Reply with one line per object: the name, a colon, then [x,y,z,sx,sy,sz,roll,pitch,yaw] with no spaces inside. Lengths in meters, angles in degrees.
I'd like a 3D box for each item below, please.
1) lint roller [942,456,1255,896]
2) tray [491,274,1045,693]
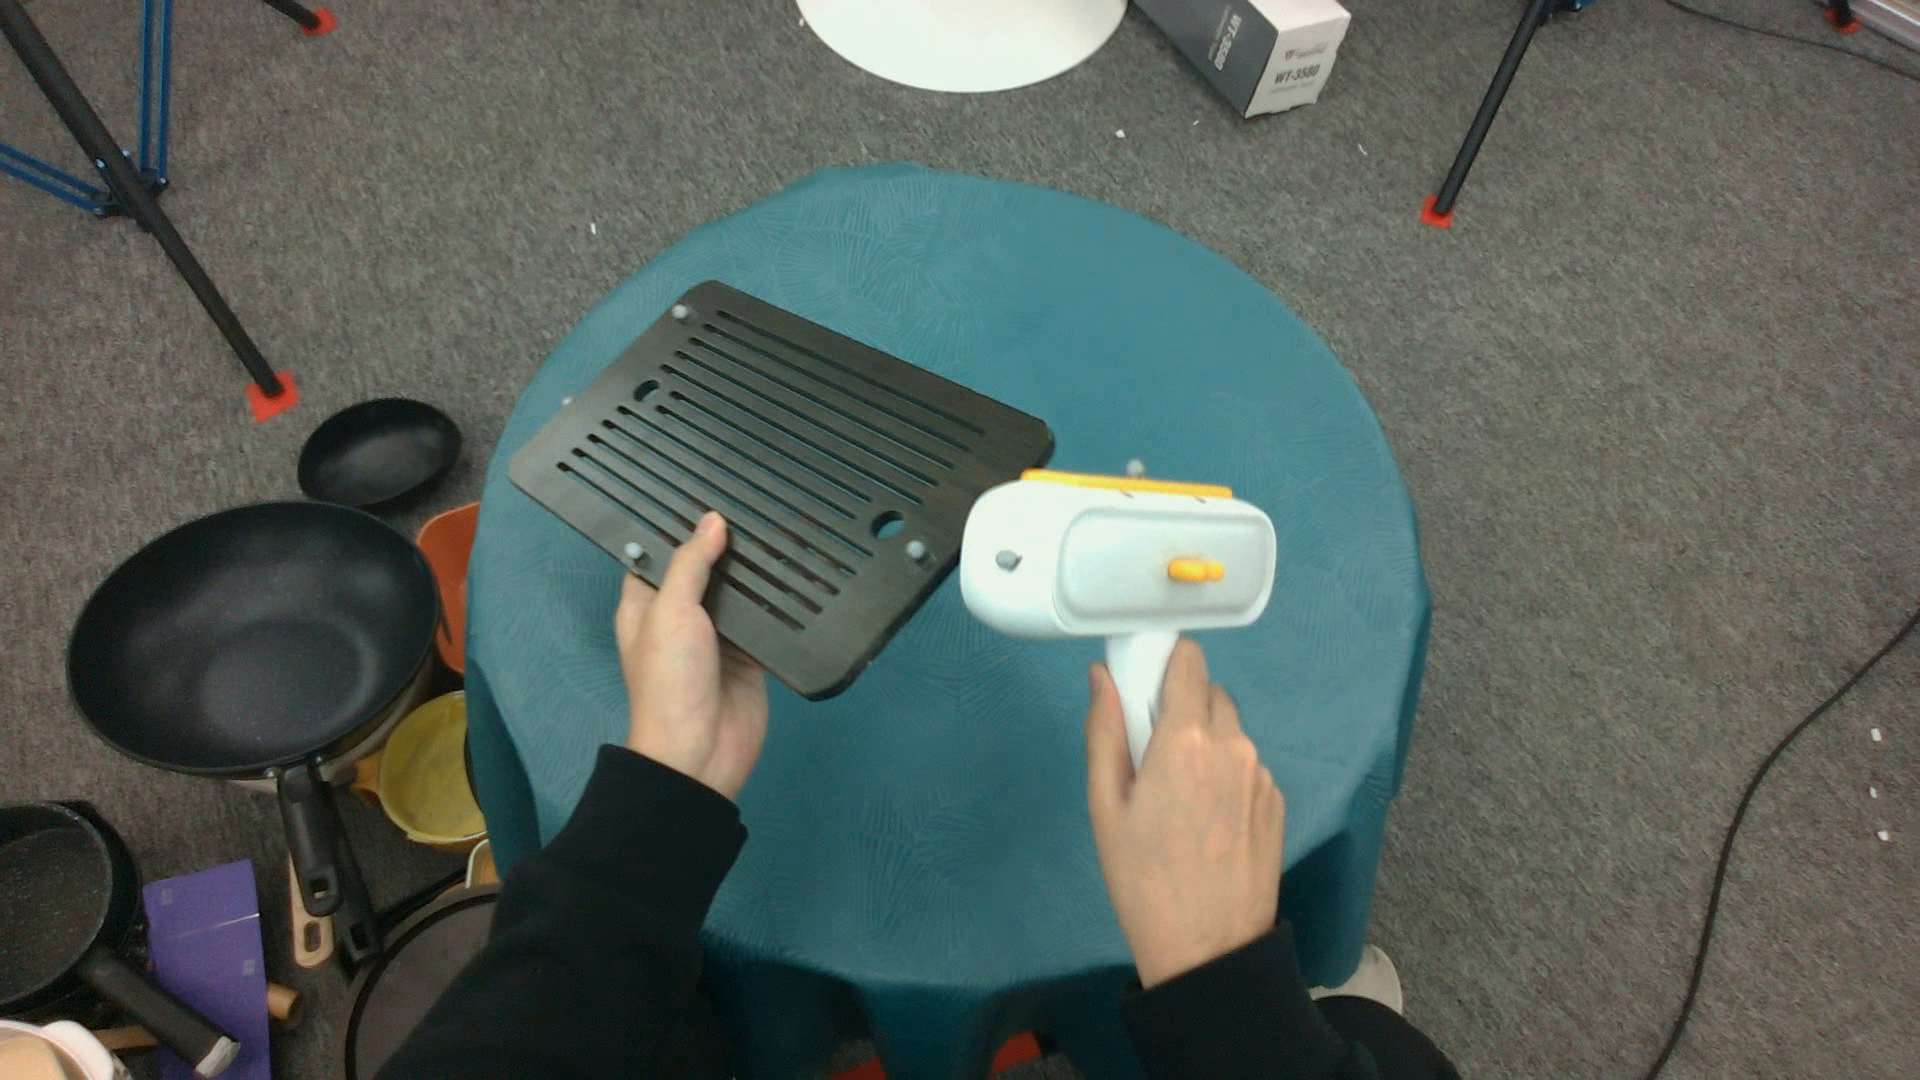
lint roller: [0.076,0.059,0.607,0.074,0.193,0.192,-2,91,36]
tray: [-0.111,-0.043,0.707,0.306,0.018,0.170,28,69,40]
